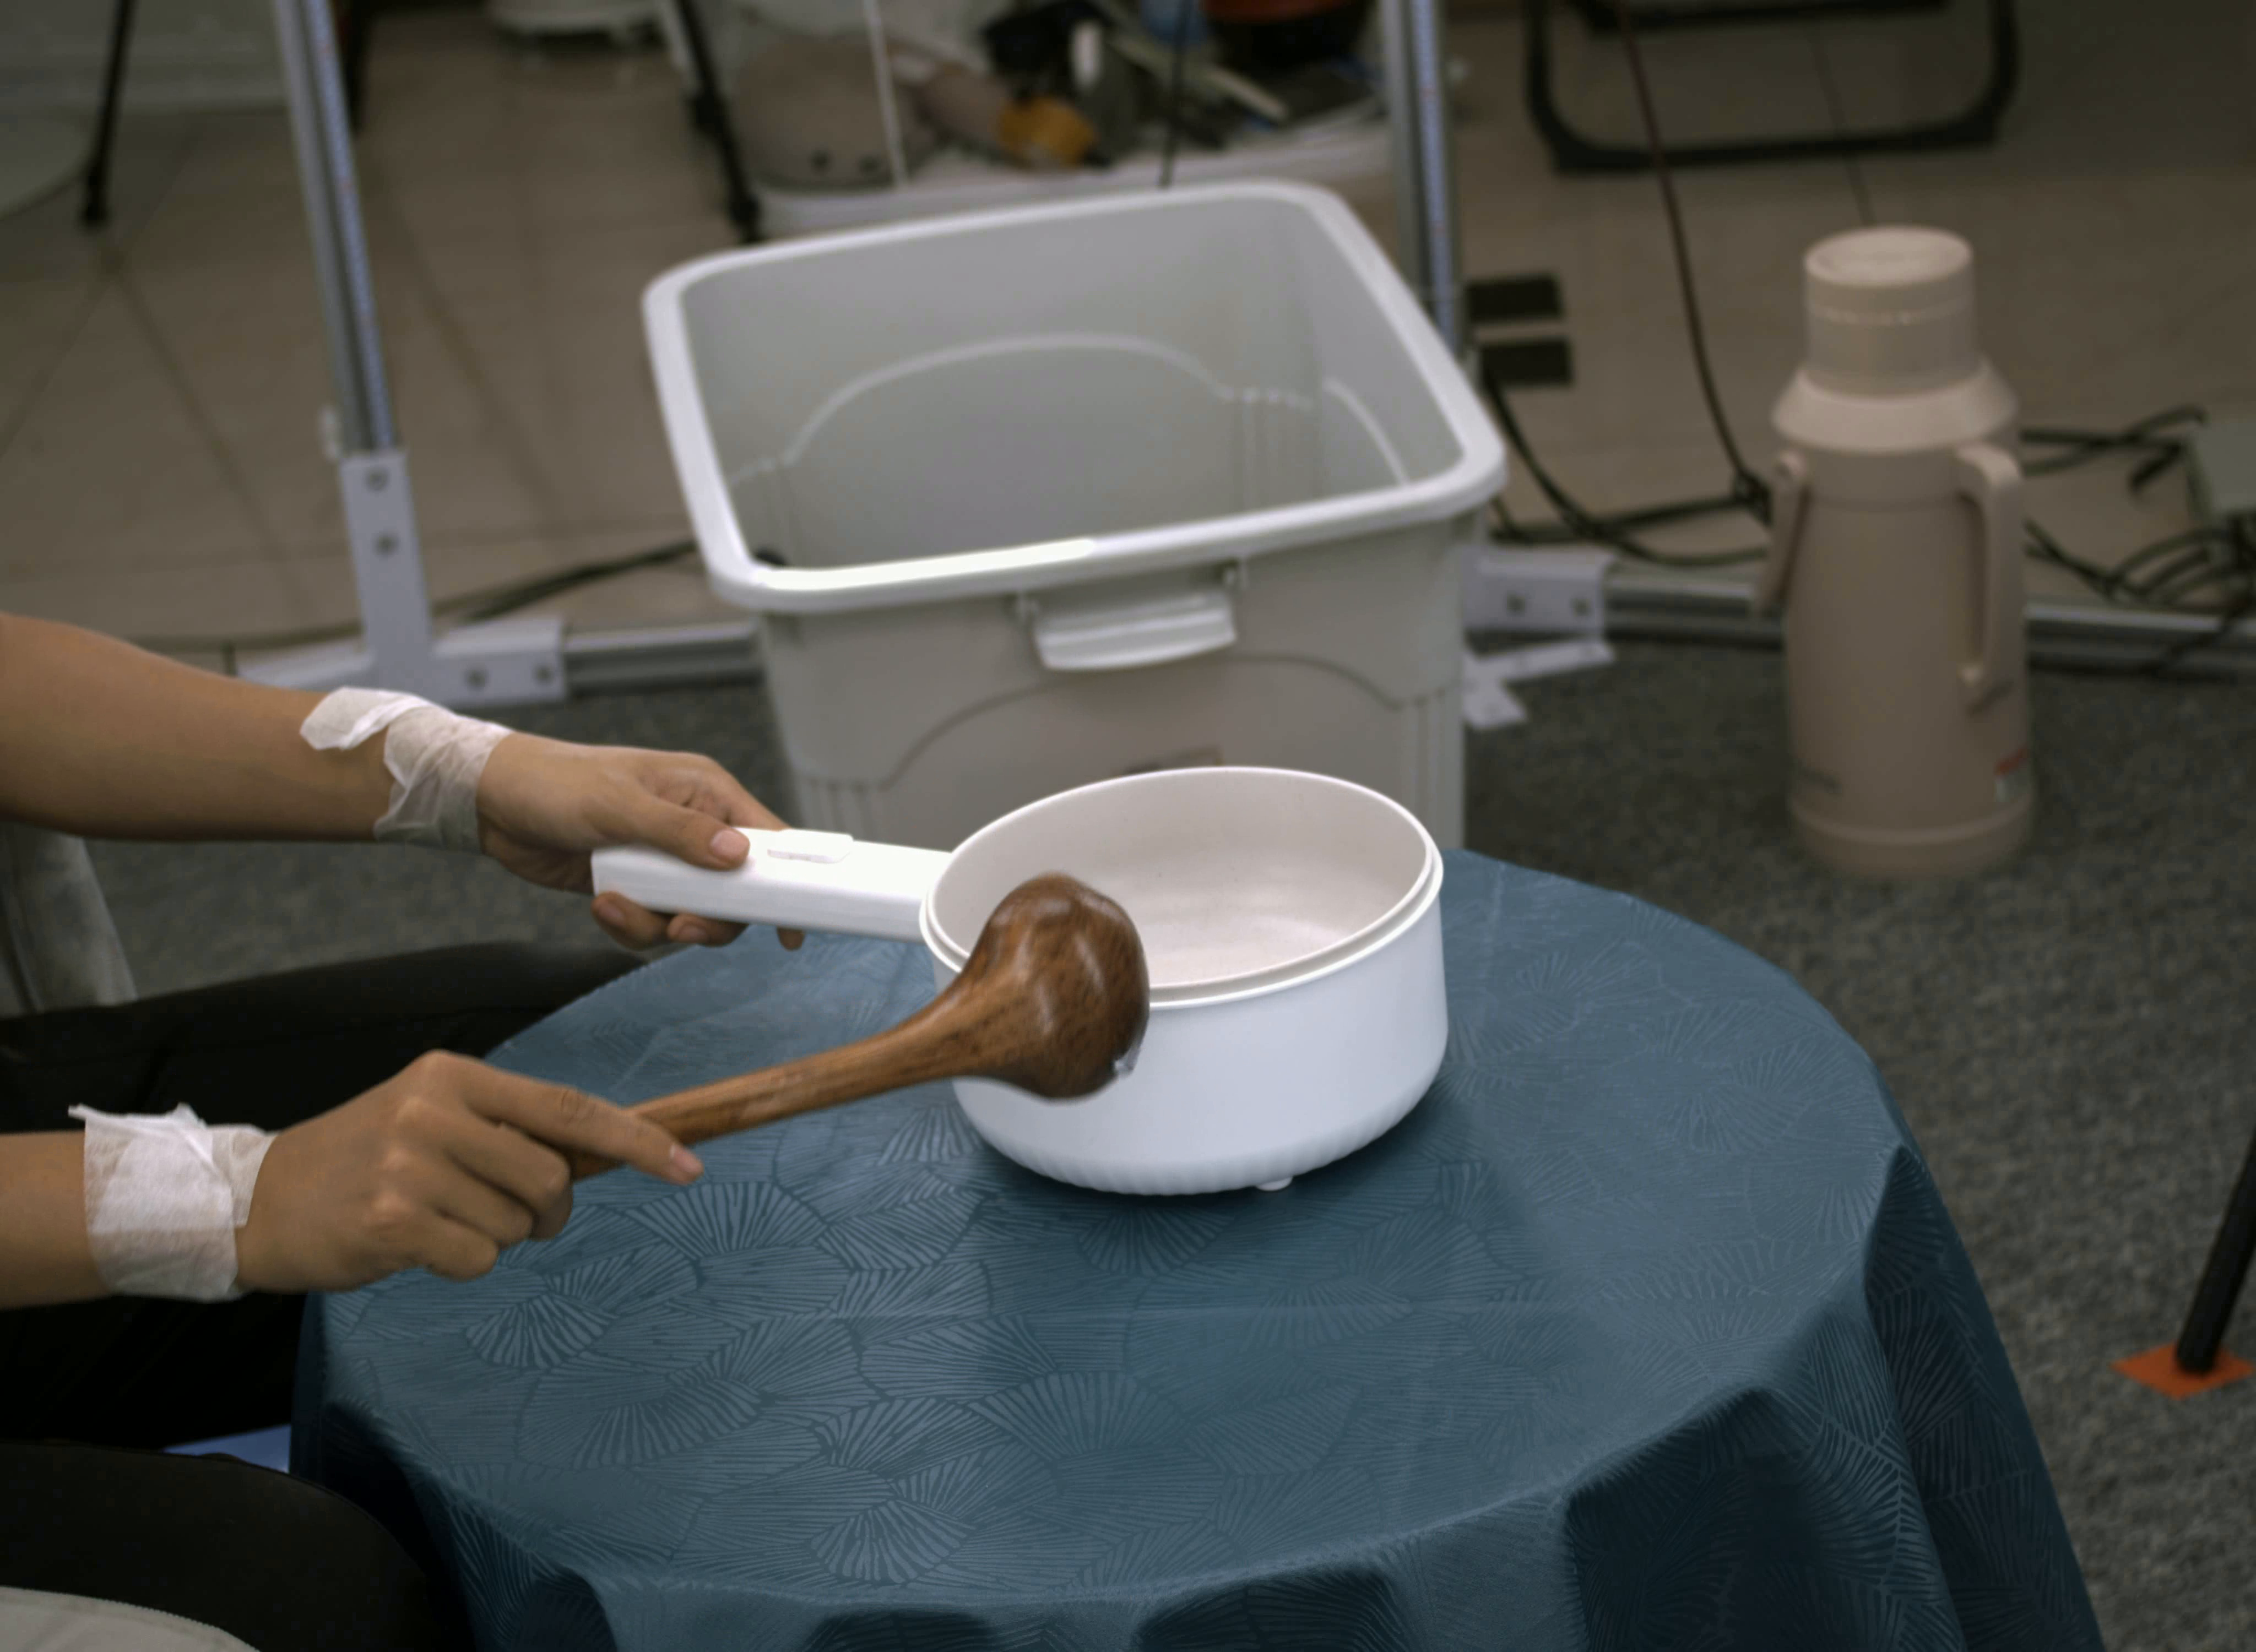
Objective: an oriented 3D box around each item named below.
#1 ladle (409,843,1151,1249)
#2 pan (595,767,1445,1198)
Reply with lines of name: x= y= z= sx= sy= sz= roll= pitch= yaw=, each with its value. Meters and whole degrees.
ladle: x=-0.122 y=0.082 z=1.993 sx=0.273 sy=0.082 sz=0.076 roll=-20 pitch=7 yaw=-1
pan: x=-0.045 y=0.057 z=2.219 sx=0.353 sy=0.104 sz=0.198 roll=5 pitch=29 yaw=26
